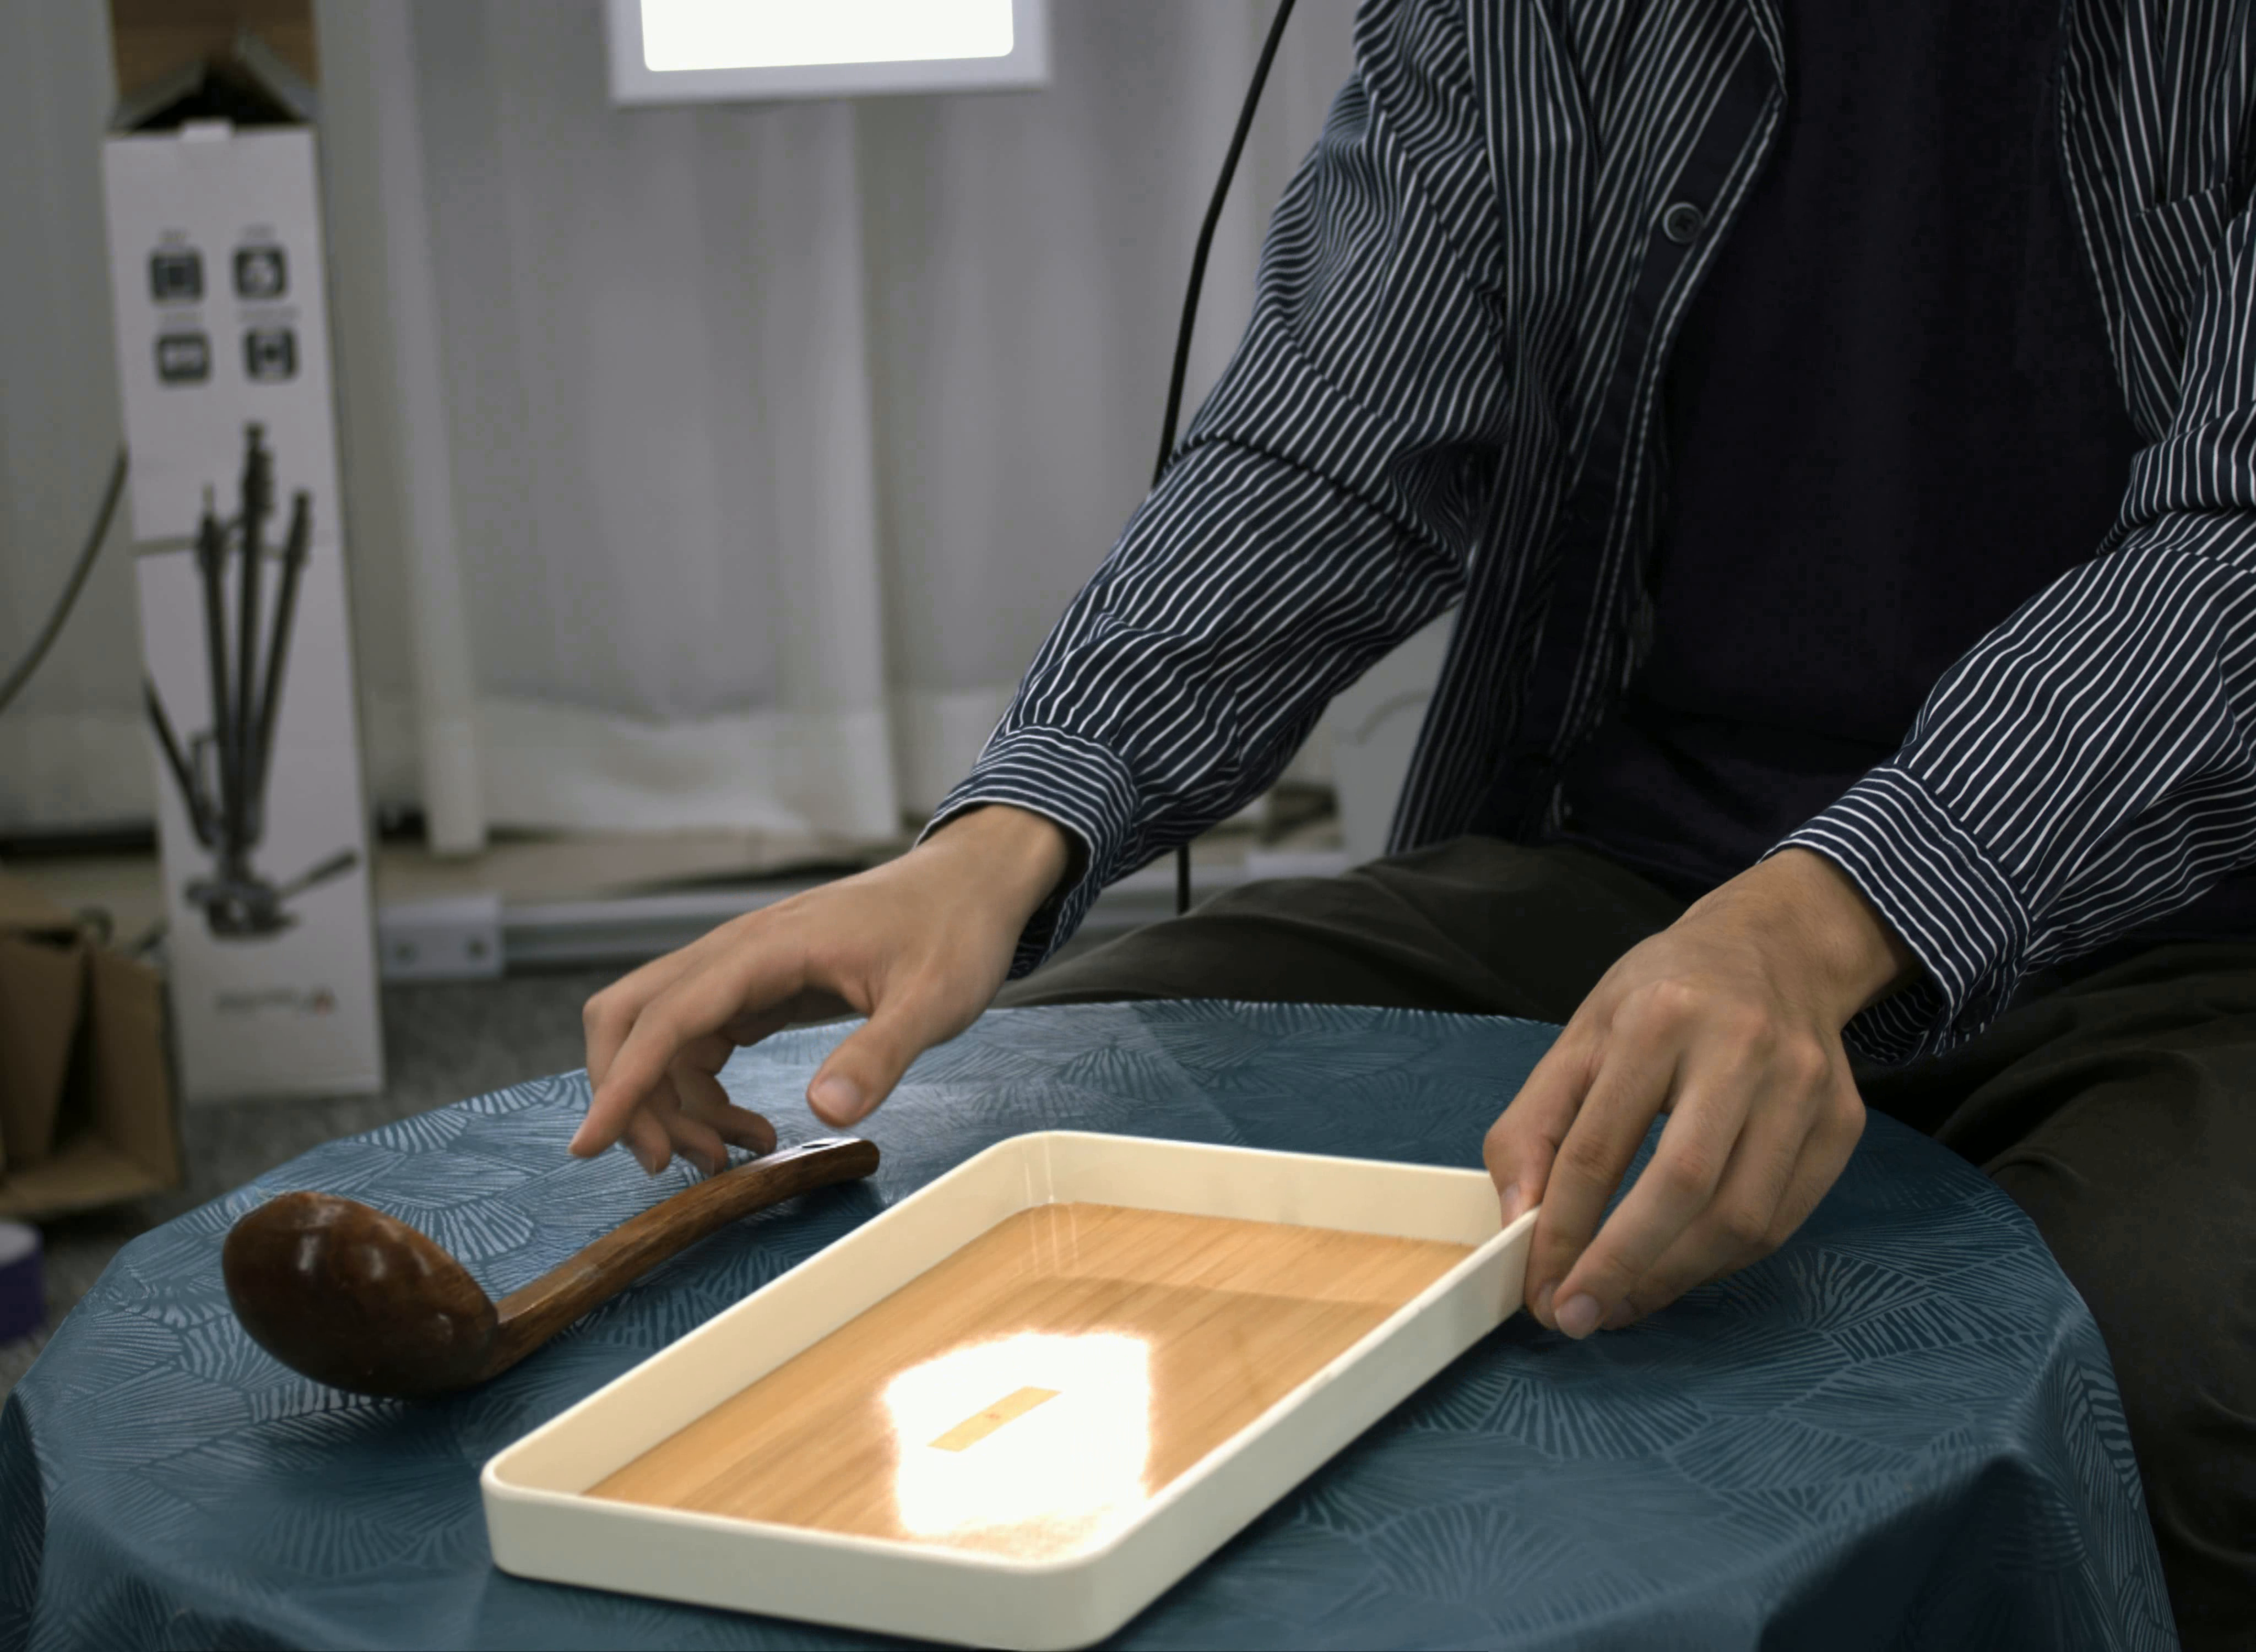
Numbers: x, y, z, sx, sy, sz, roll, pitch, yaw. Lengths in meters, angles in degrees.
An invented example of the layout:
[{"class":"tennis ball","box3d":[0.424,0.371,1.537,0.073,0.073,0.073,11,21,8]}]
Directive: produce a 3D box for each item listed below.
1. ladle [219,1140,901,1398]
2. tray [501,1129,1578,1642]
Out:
[{"class":"ladle","box3d":[-0.161,0.107,1.630,0.082,0.076,0.274,2,15,34]},{"class":"tray","box3d":[-0.017,0.149,1.523,0.192,0.027,0.301,4,17,30]}]
